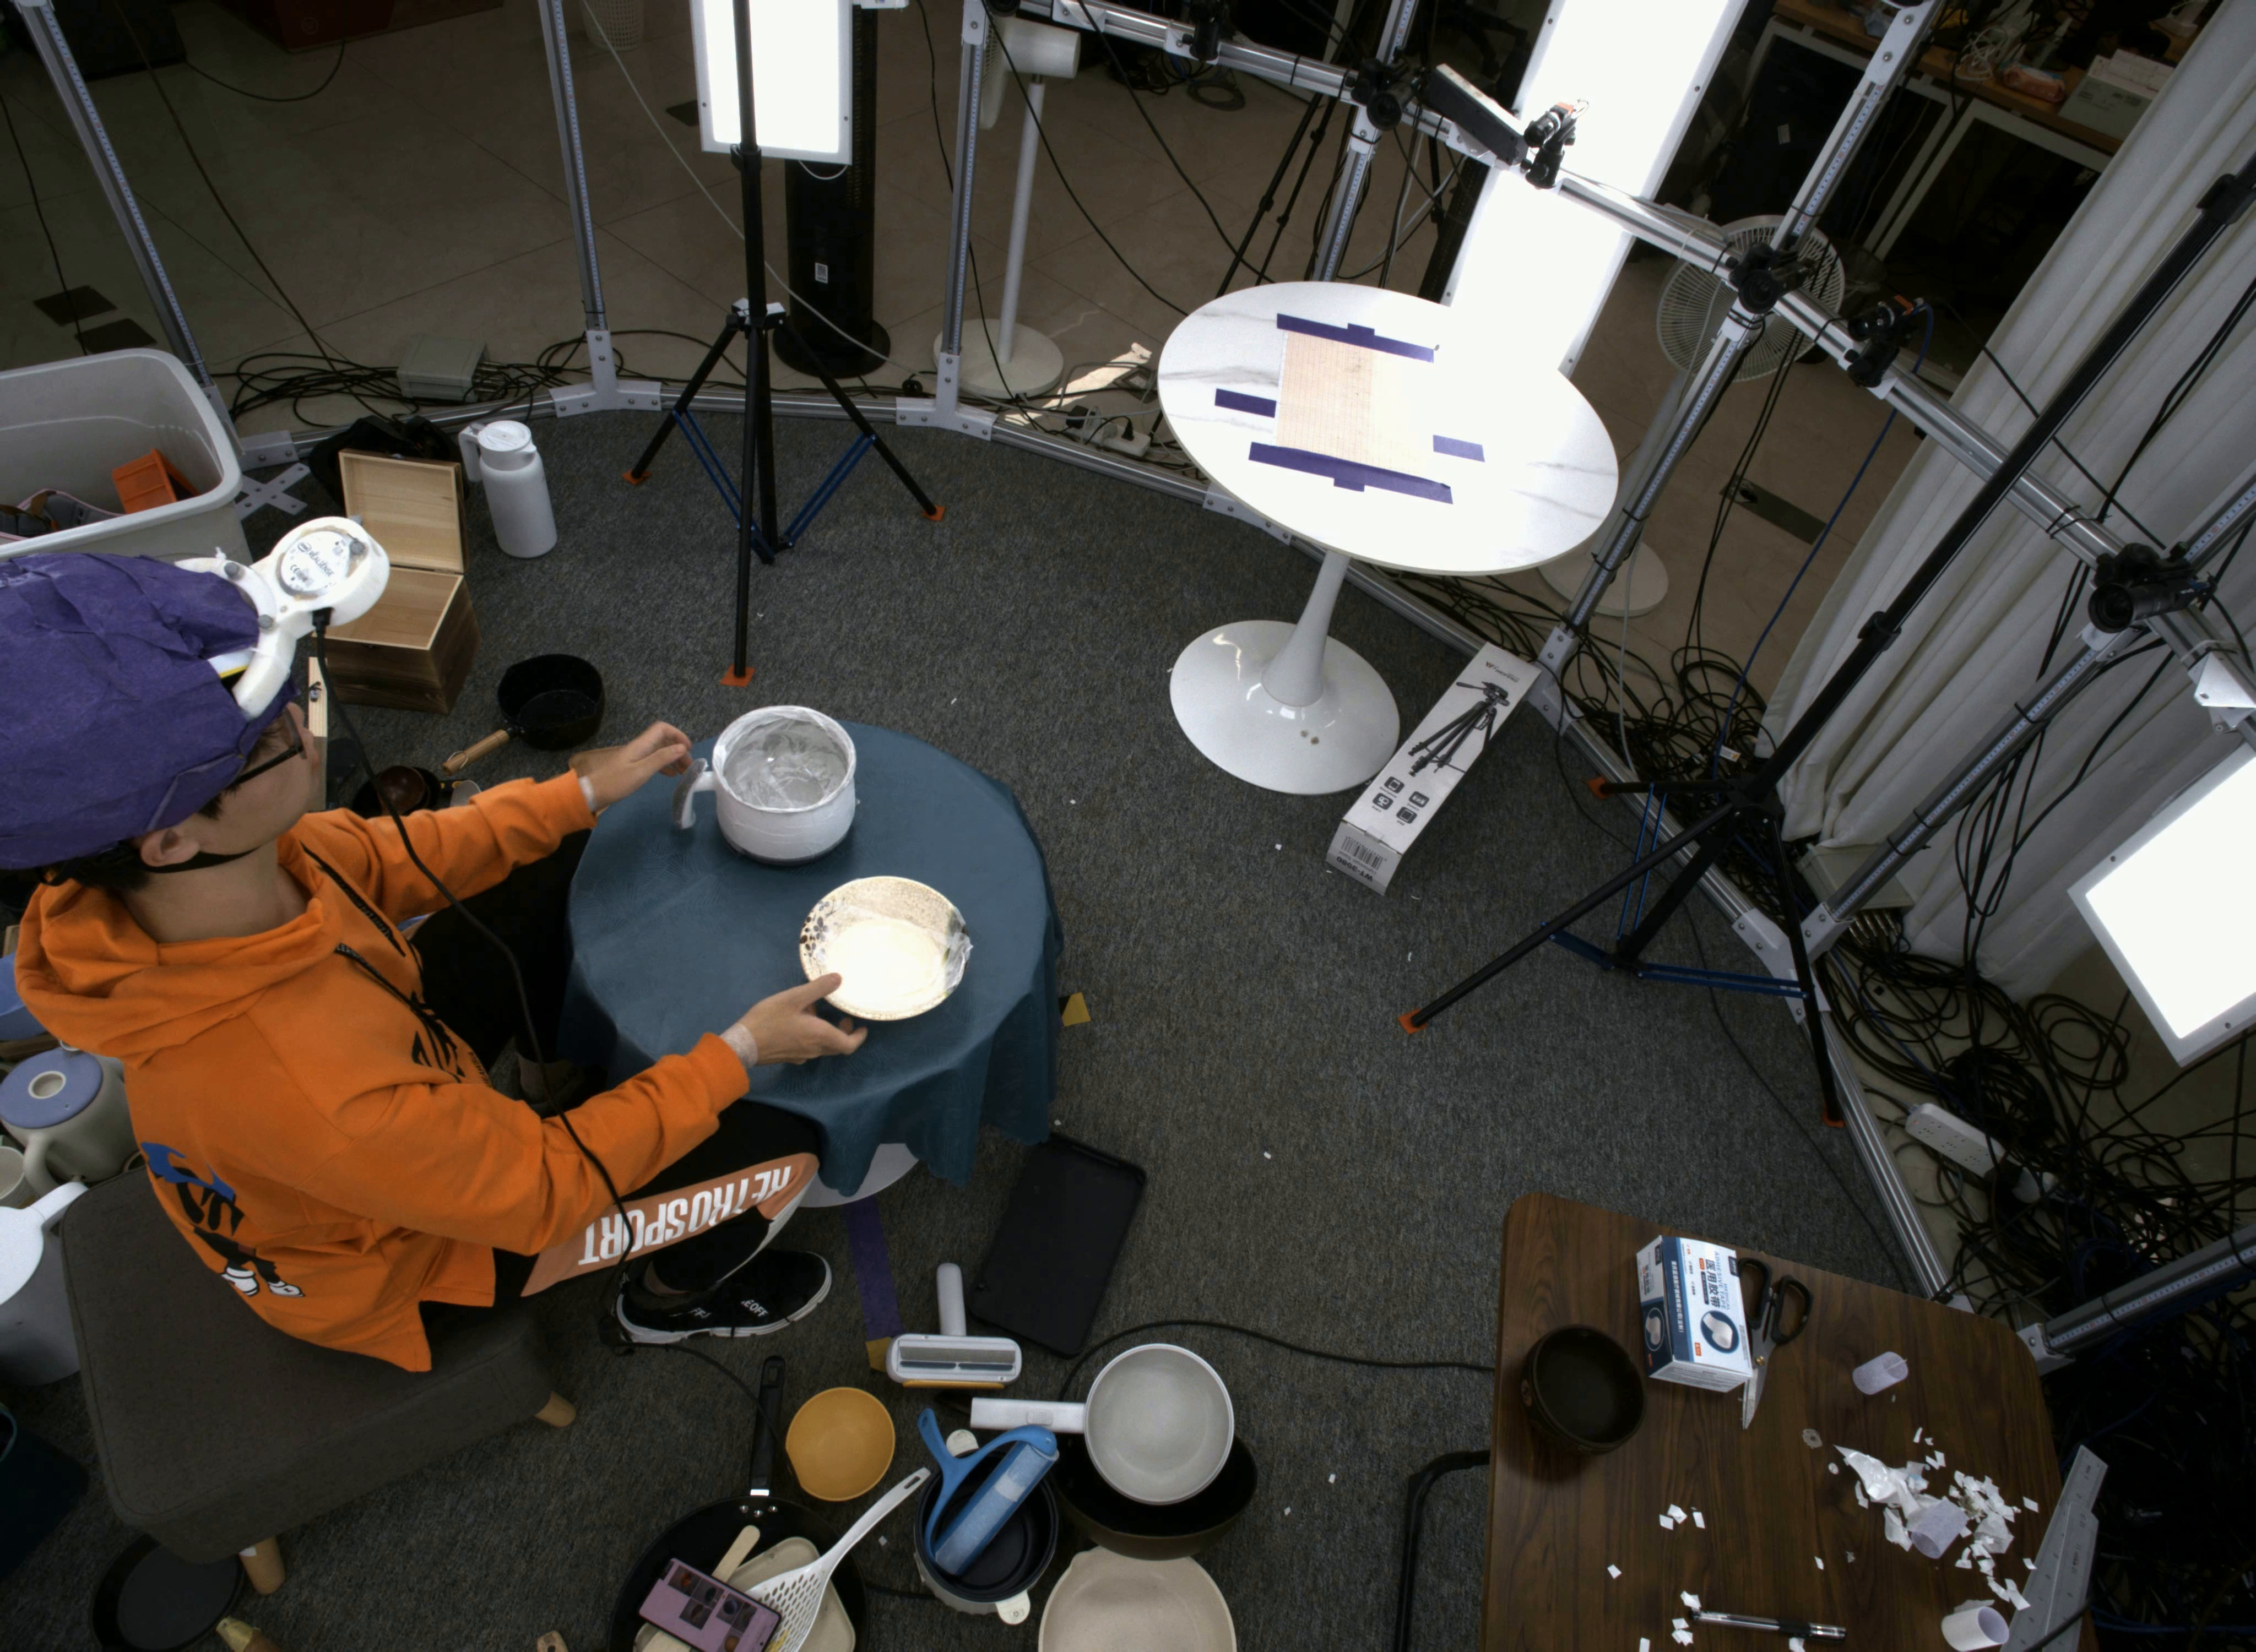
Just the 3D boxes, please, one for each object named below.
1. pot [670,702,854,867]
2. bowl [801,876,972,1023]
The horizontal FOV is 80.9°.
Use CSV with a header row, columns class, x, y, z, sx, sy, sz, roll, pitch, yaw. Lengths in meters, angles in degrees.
class,x,y,z,sx,sy,sz,roll,pitch,yaw
pot,-0.467,-0.046,1.648,0.235,0.139,0.174,-7,54,-19
bowl,-0.291,0.163,1.579,0.203,0.079,0.200,6,54,-7
